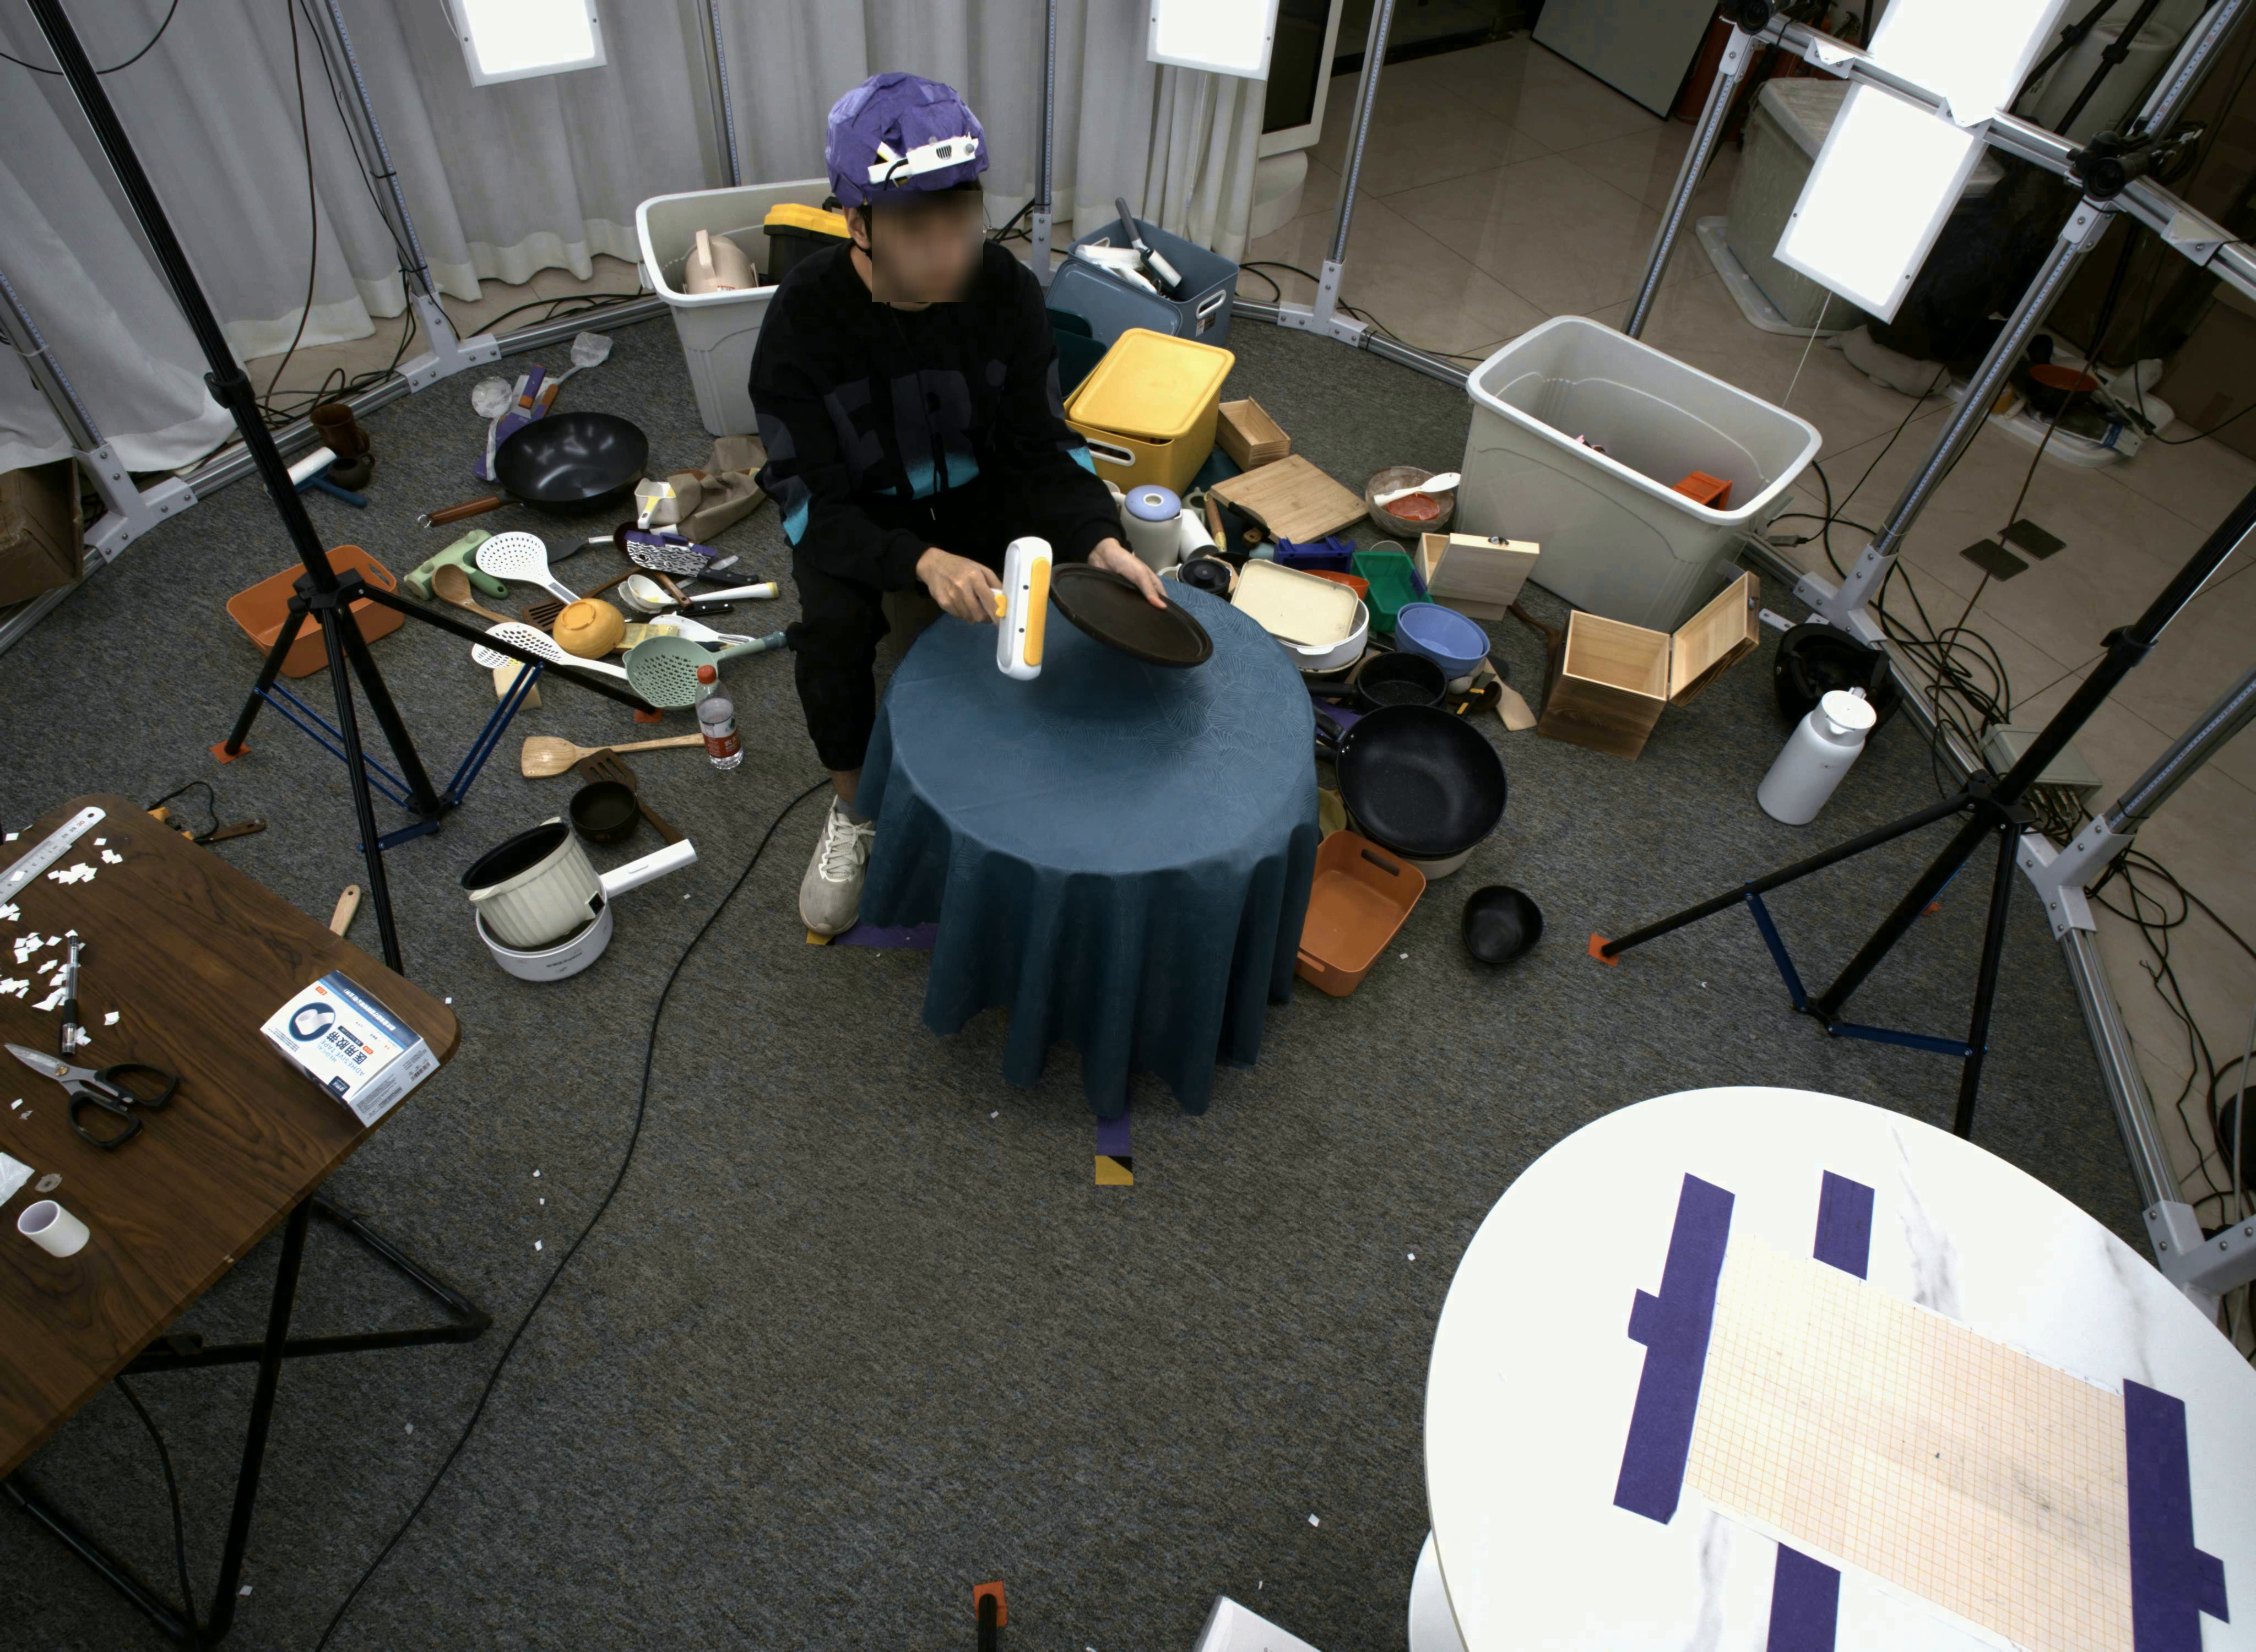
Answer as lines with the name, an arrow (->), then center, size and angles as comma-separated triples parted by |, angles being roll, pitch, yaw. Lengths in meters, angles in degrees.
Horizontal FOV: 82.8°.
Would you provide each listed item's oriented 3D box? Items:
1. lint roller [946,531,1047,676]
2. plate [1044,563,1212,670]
lint roller -> -0.181, -0.309, 1.779 | 0.074, 0.191, 0.194 | -8, 14, -35
plate -> -0.002, -0.291, 1.786 | 0.253, 0.028, 0.260 | 20, 28, -11
